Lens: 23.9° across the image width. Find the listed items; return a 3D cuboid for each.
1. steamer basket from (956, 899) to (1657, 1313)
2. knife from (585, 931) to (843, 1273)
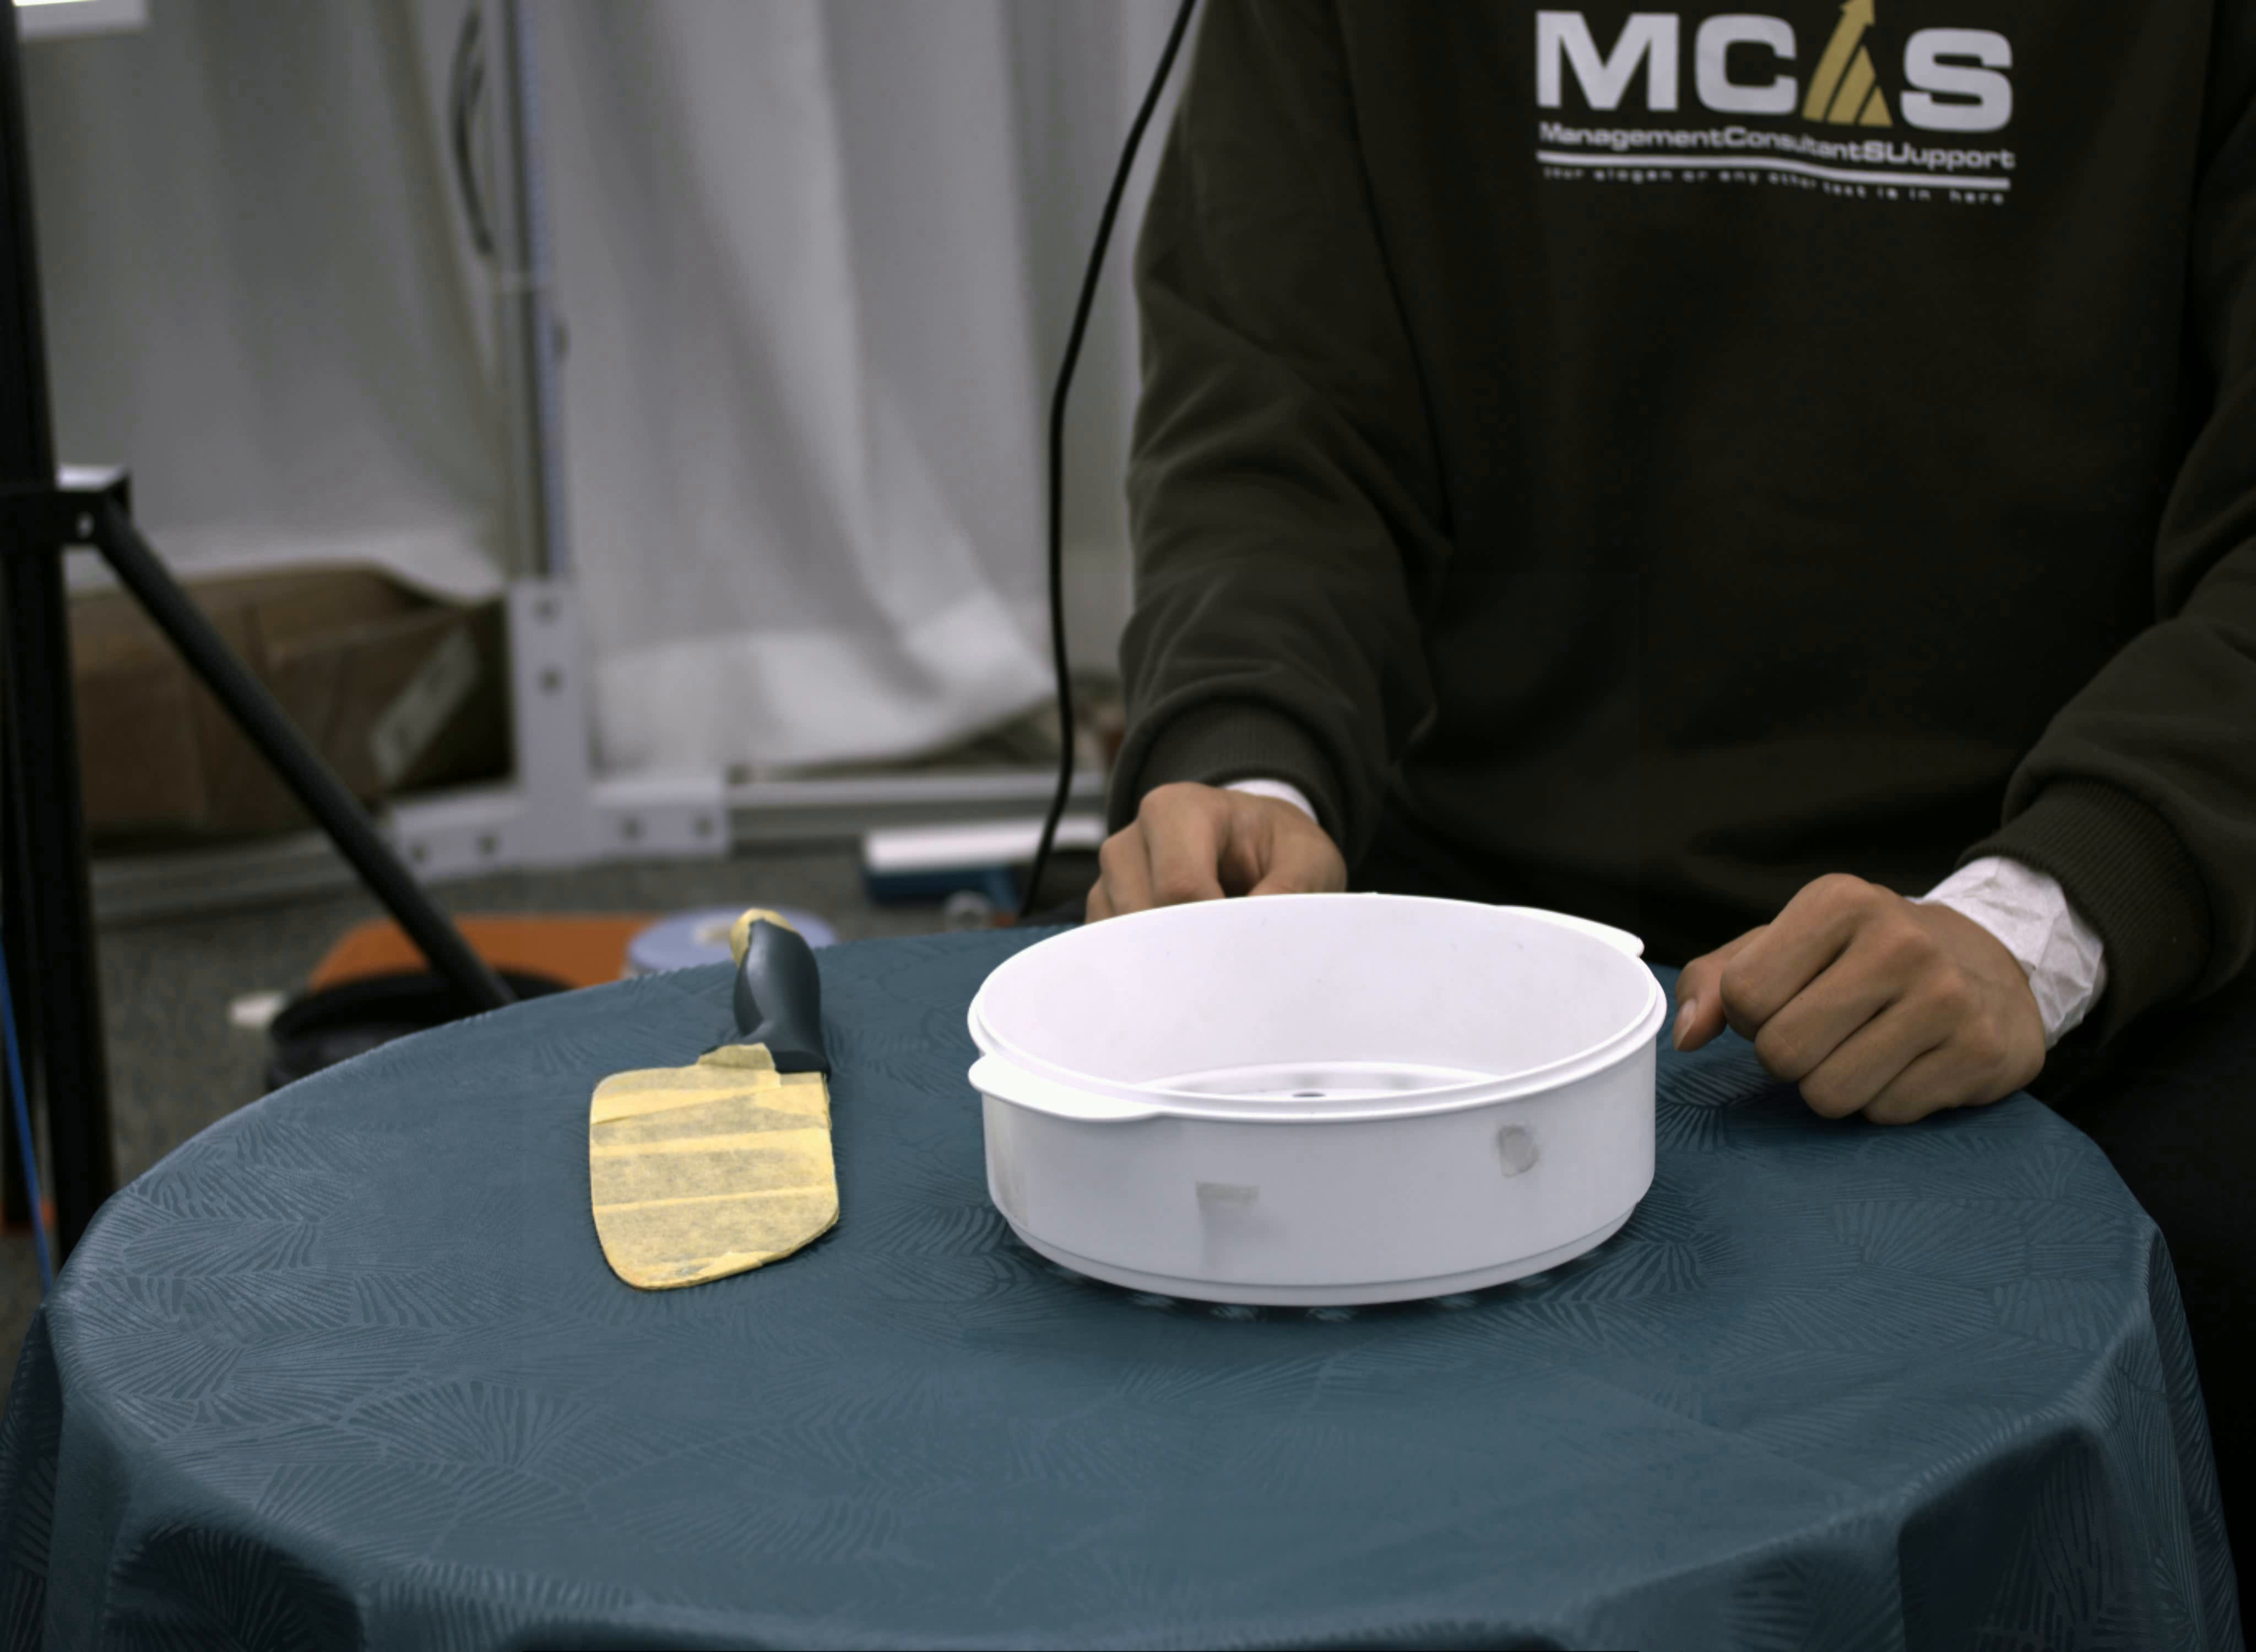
[{"bbox_3d":[0.051,0.081,1.529,0.225,0.069,0.206,-14,20,-39],"label":"steamer basket"},{"bbox_3d":[-0.127,0.085,1.638,0.080,0.027,0.291,-2,17,-2],"label":"knife"}]
